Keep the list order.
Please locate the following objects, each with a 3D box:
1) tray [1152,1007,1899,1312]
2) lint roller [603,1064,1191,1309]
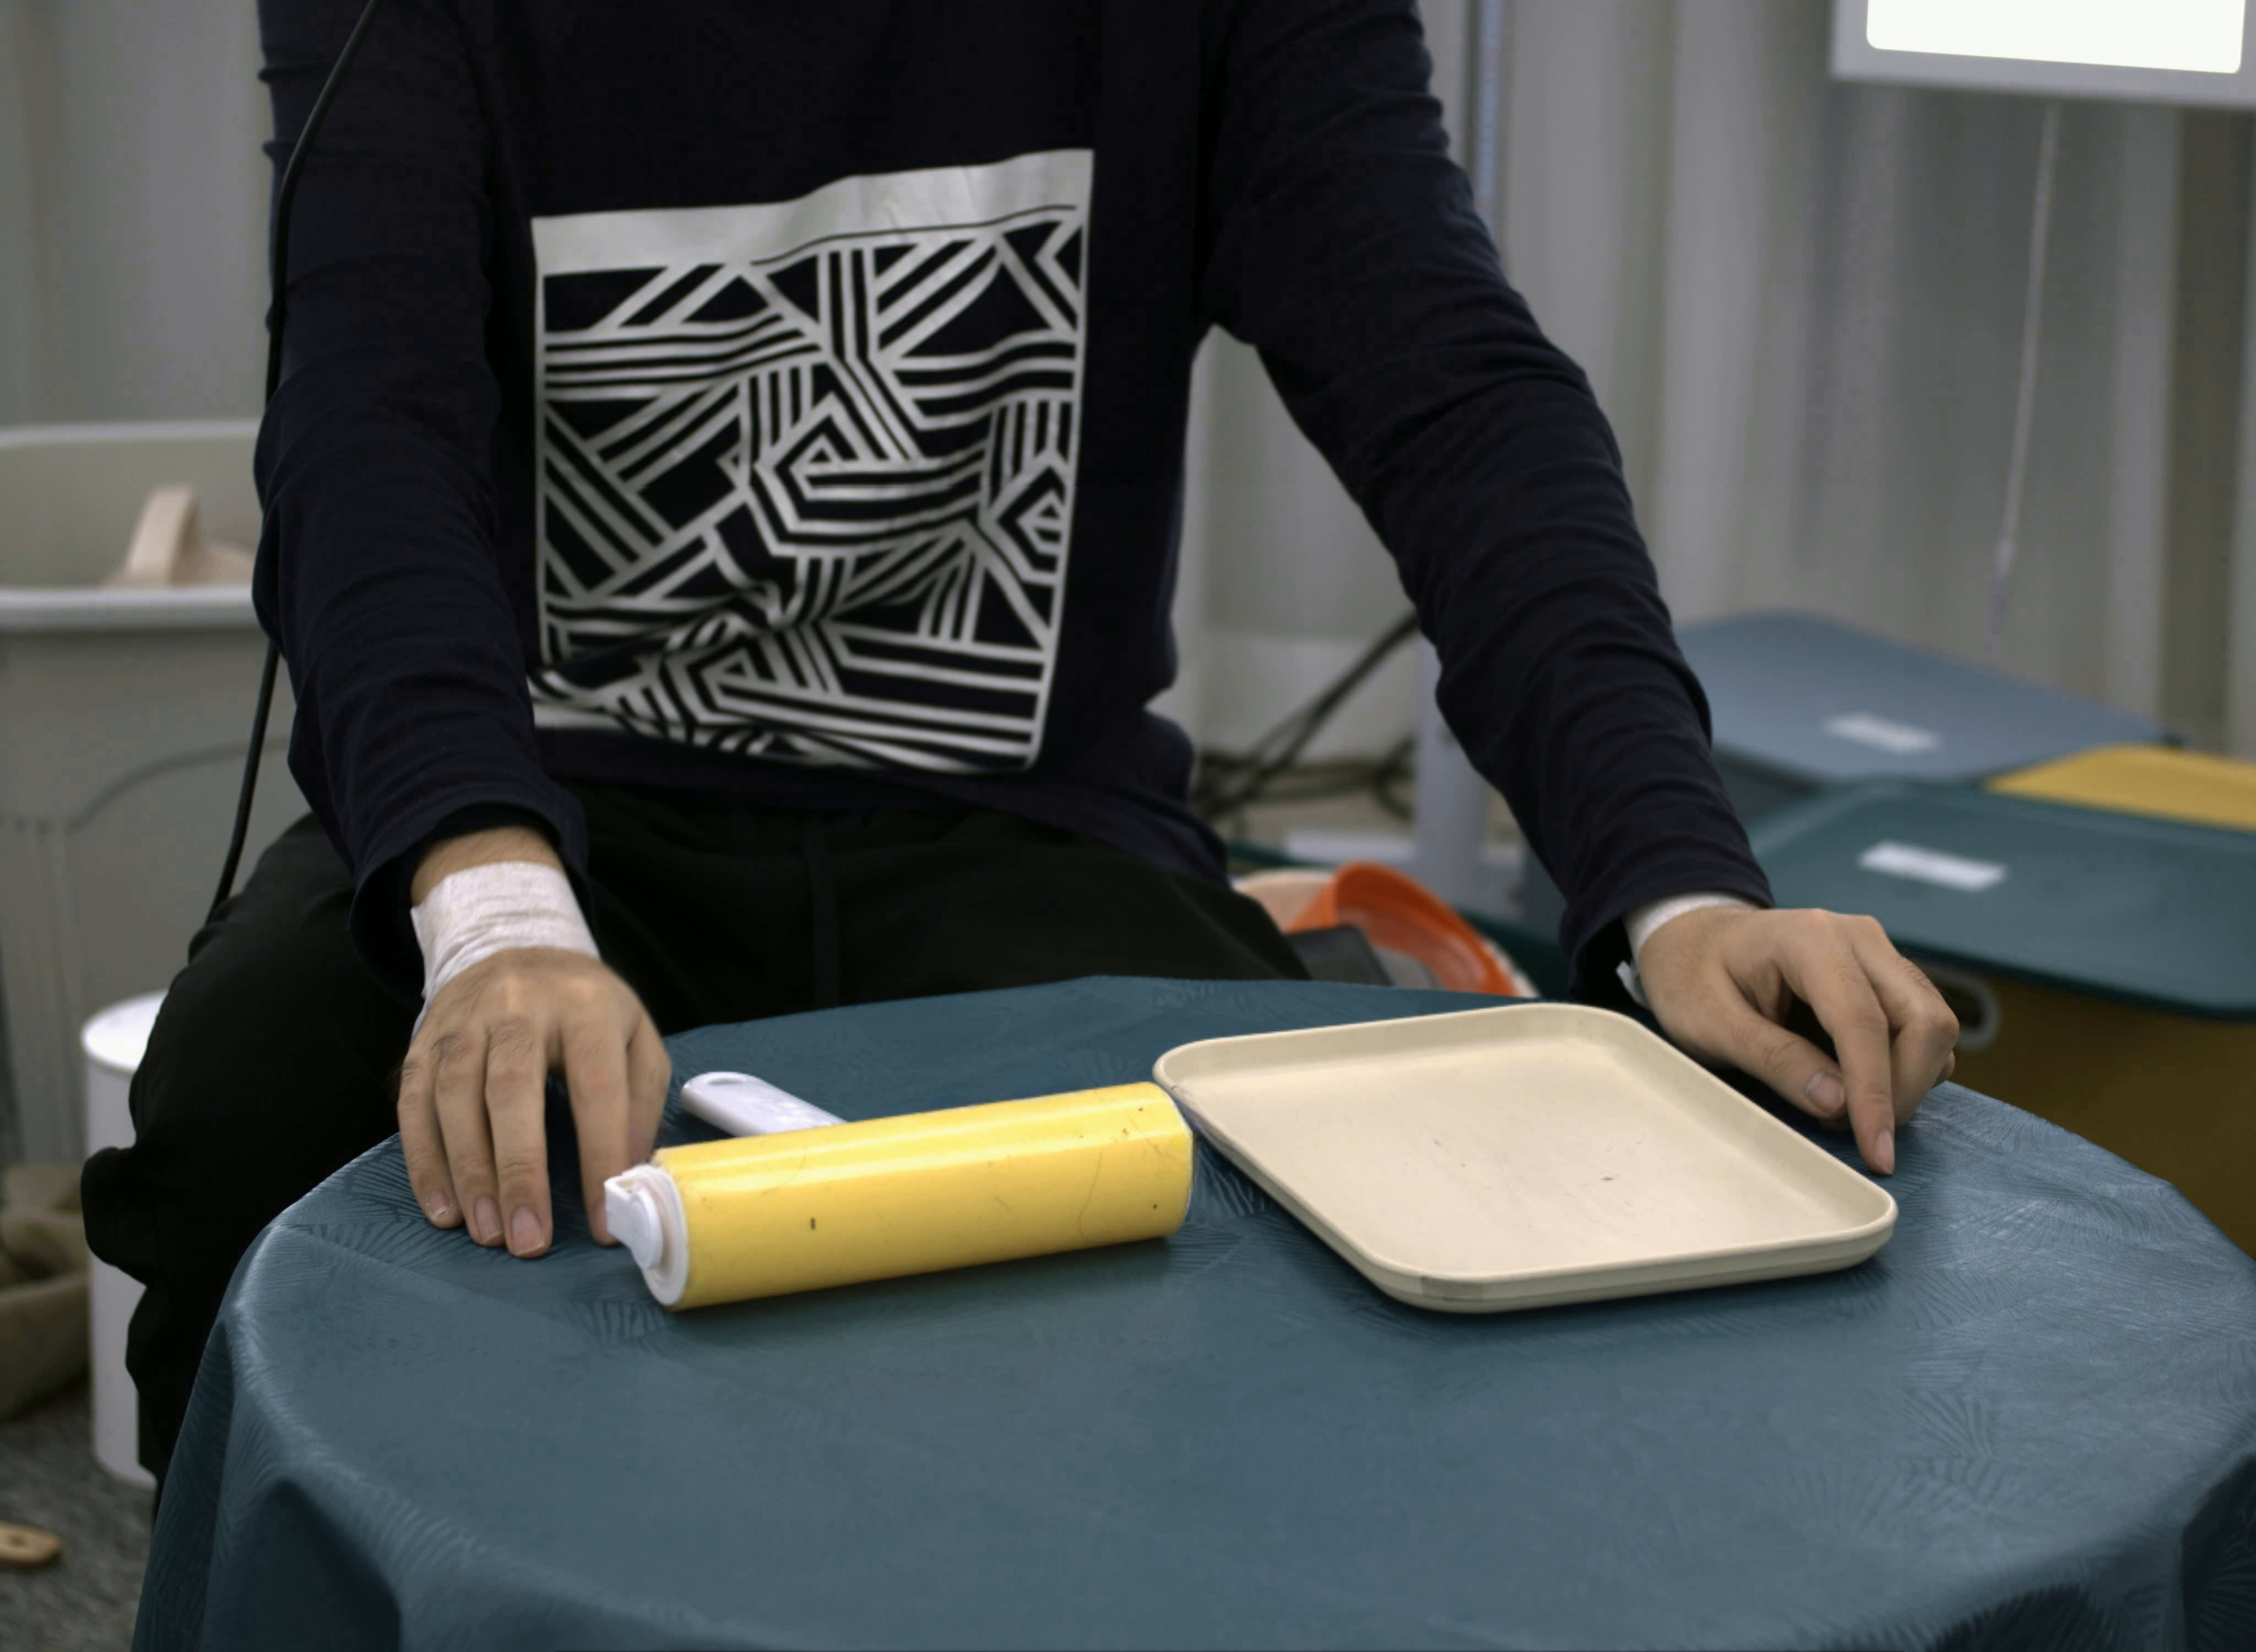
[{"bbox_3d":[0.119,0.102,1.634,0.172,0.017,0.237,-4,16,-20],"label":"tray"},{"bbox_3d":[-0.095,0.090,1.607,0.175,0.052,0.189,-6,20,-26],"label":"lint roller"}]
